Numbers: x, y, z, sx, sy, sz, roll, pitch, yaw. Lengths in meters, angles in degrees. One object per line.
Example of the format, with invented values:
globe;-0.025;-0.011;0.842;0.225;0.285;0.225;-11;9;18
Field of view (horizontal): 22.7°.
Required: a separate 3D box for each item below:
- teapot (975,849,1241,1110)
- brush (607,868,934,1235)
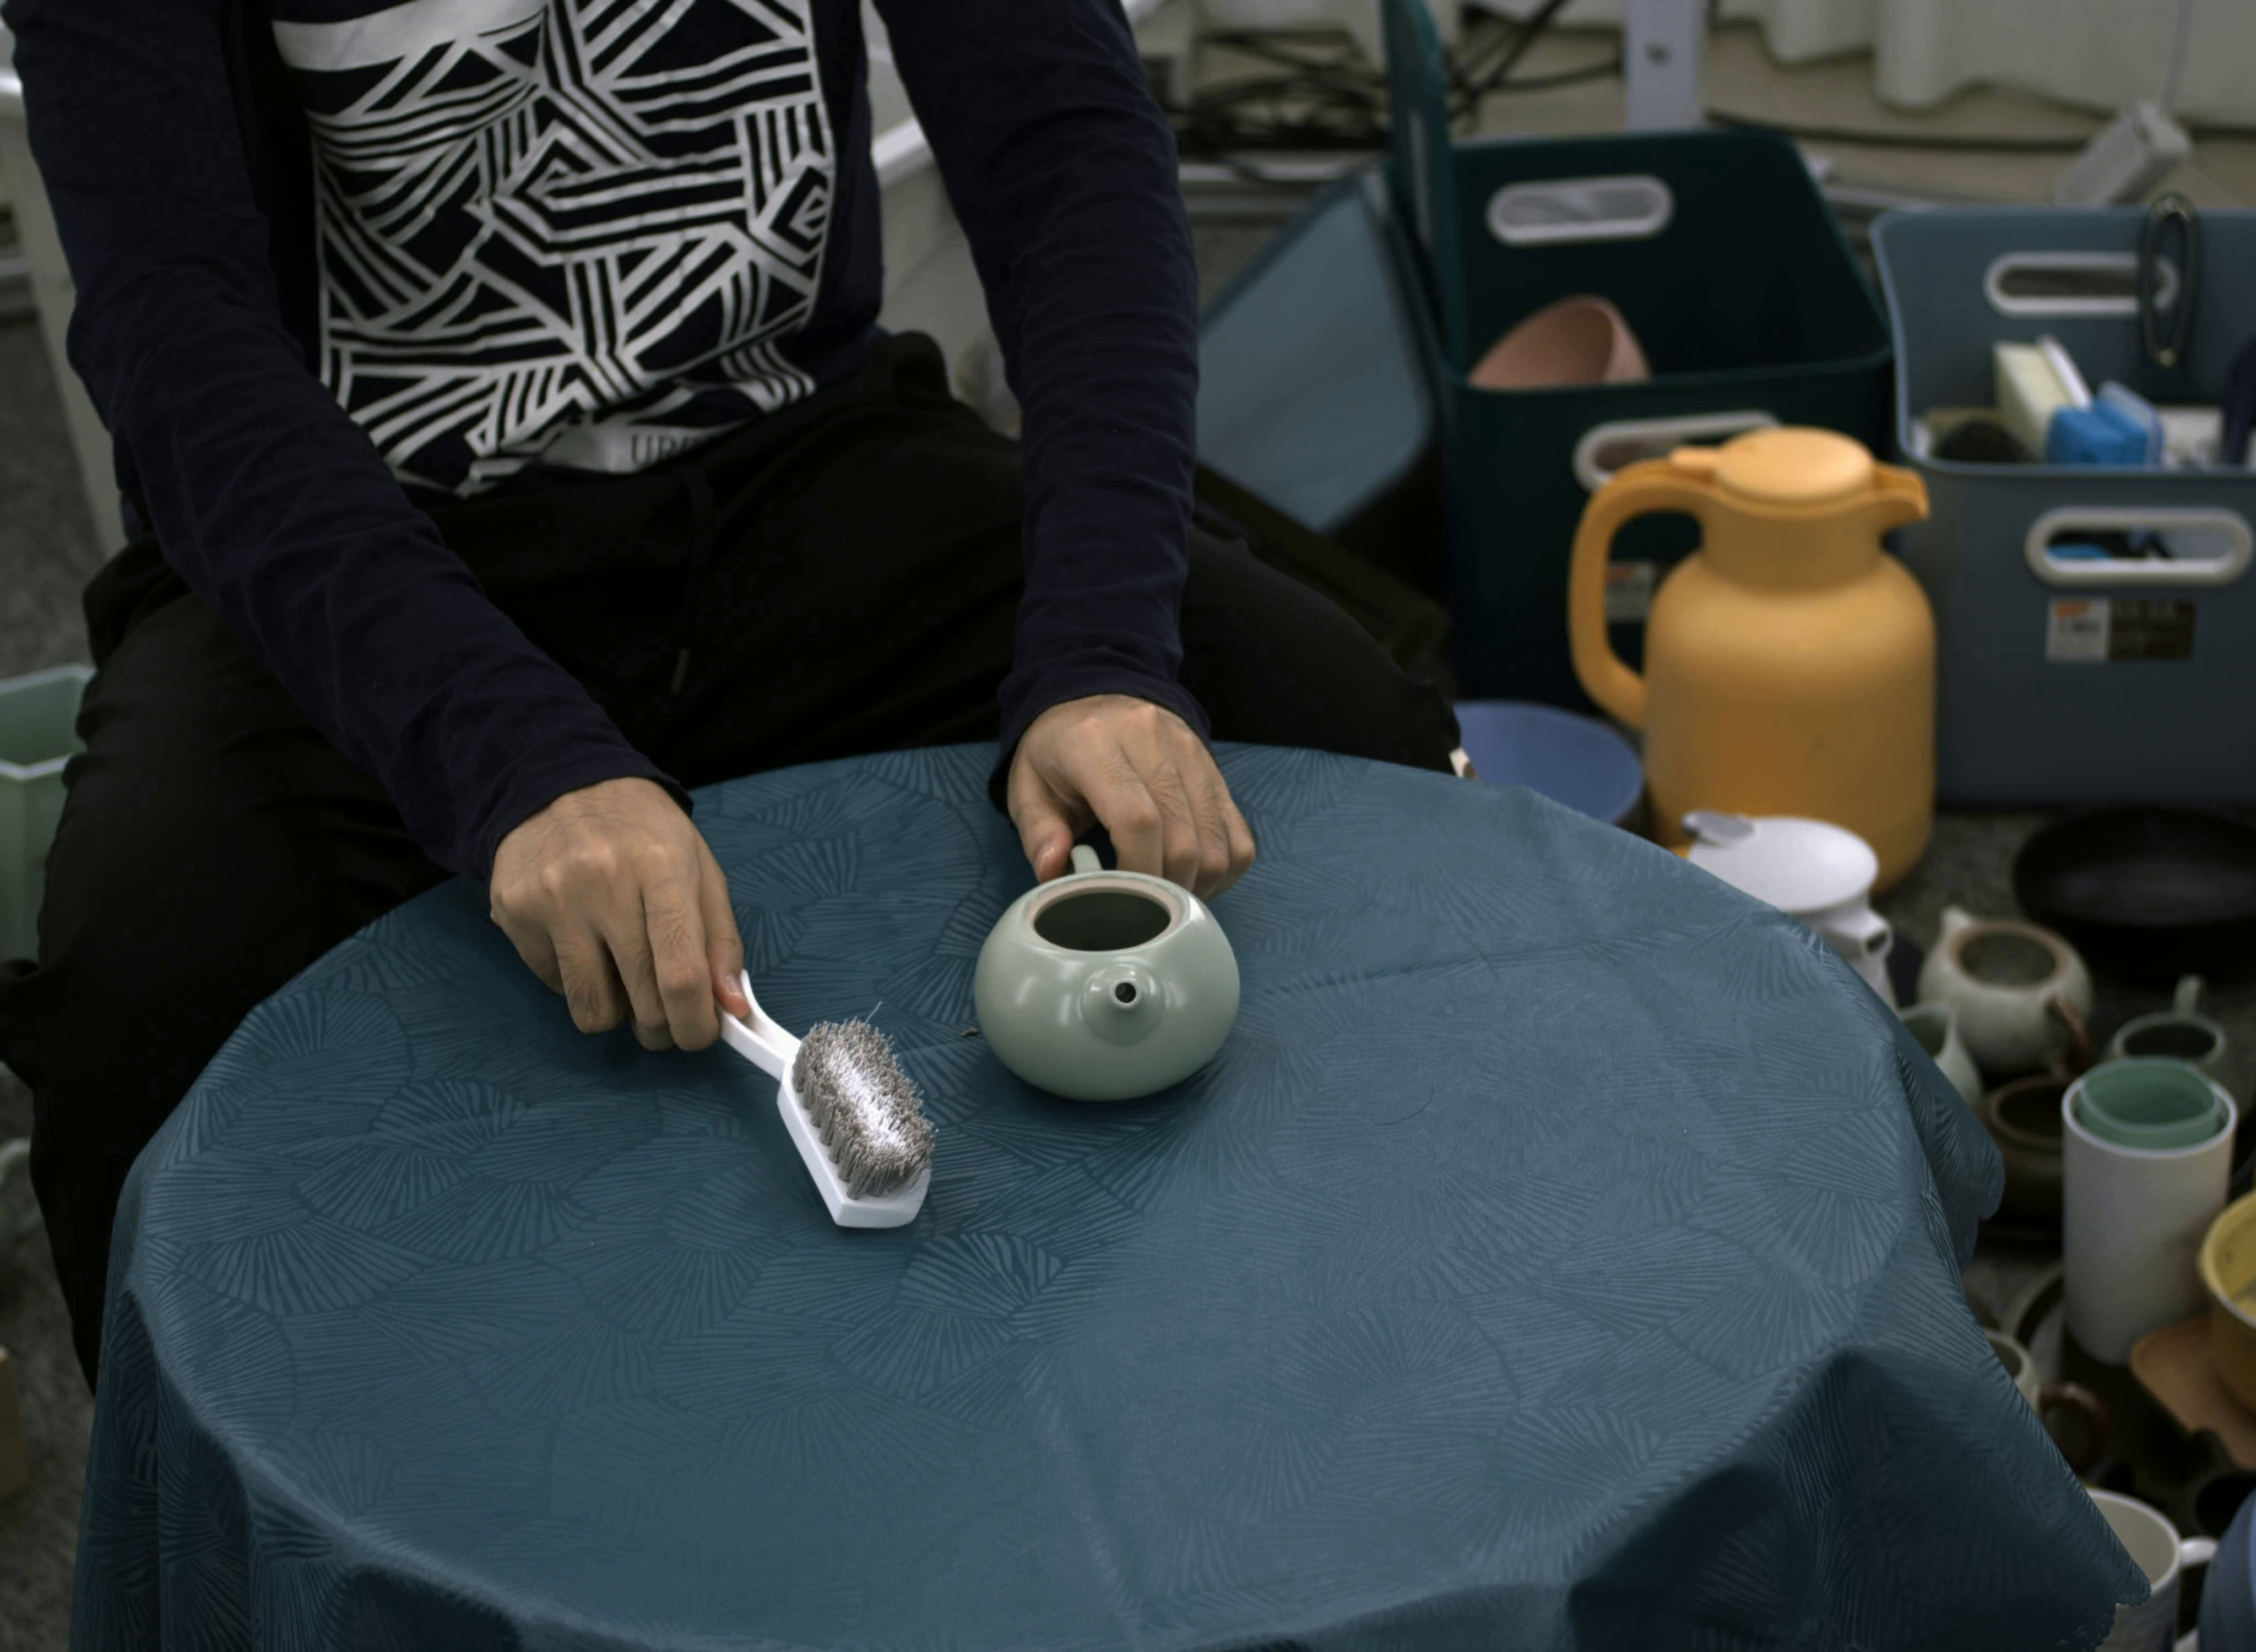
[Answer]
teapot;-0.007;0.053;1.931;0.091;0.060;0.130;-9;27;1
brush;-0.127;0.060;1.917;0.034;0.049;0.246;-10;33;-23
